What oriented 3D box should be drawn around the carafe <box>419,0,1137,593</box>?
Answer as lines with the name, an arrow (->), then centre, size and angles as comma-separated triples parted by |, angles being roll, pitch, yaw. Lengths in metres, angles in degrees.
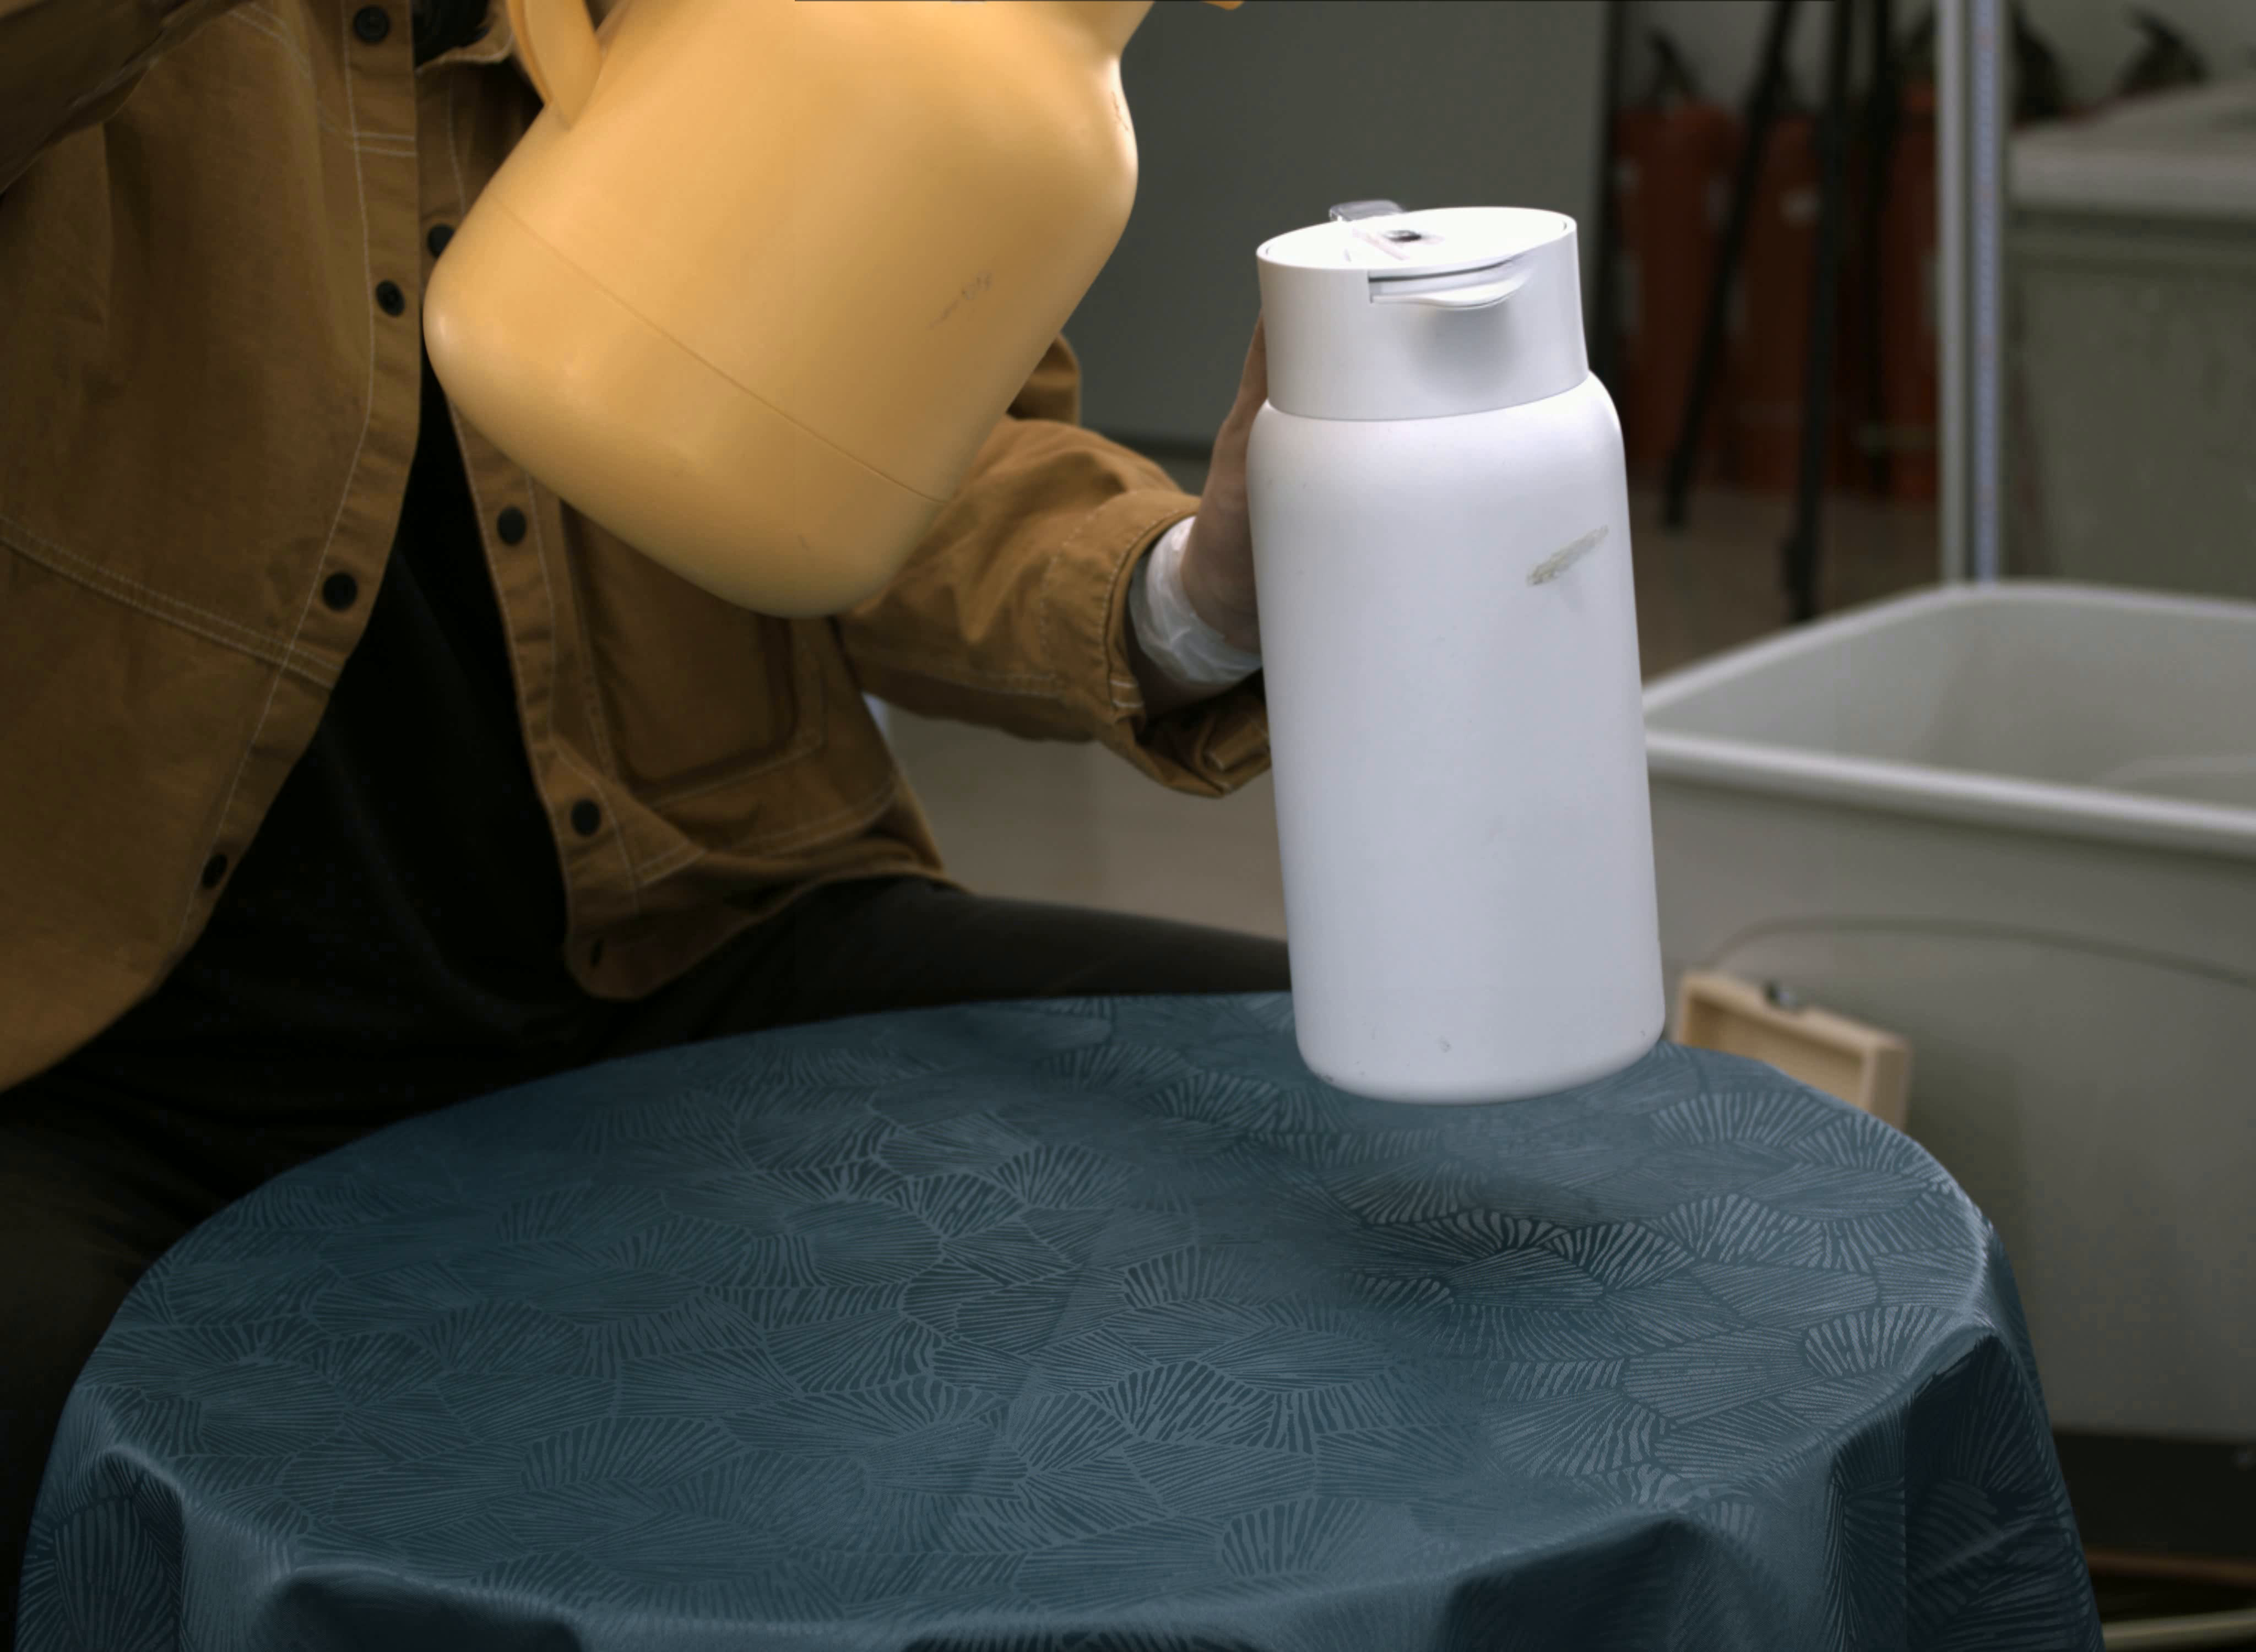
carafe -> -0.094, -0.218, 1.562 | 0.199, 0.262, 0.165 | 34, 3, -25

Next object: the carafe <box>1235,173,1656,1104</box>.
carafe -> 0.091, -0.061, 1.680 | 0.122, 0.271, 0.174 | -11, 15, -10
